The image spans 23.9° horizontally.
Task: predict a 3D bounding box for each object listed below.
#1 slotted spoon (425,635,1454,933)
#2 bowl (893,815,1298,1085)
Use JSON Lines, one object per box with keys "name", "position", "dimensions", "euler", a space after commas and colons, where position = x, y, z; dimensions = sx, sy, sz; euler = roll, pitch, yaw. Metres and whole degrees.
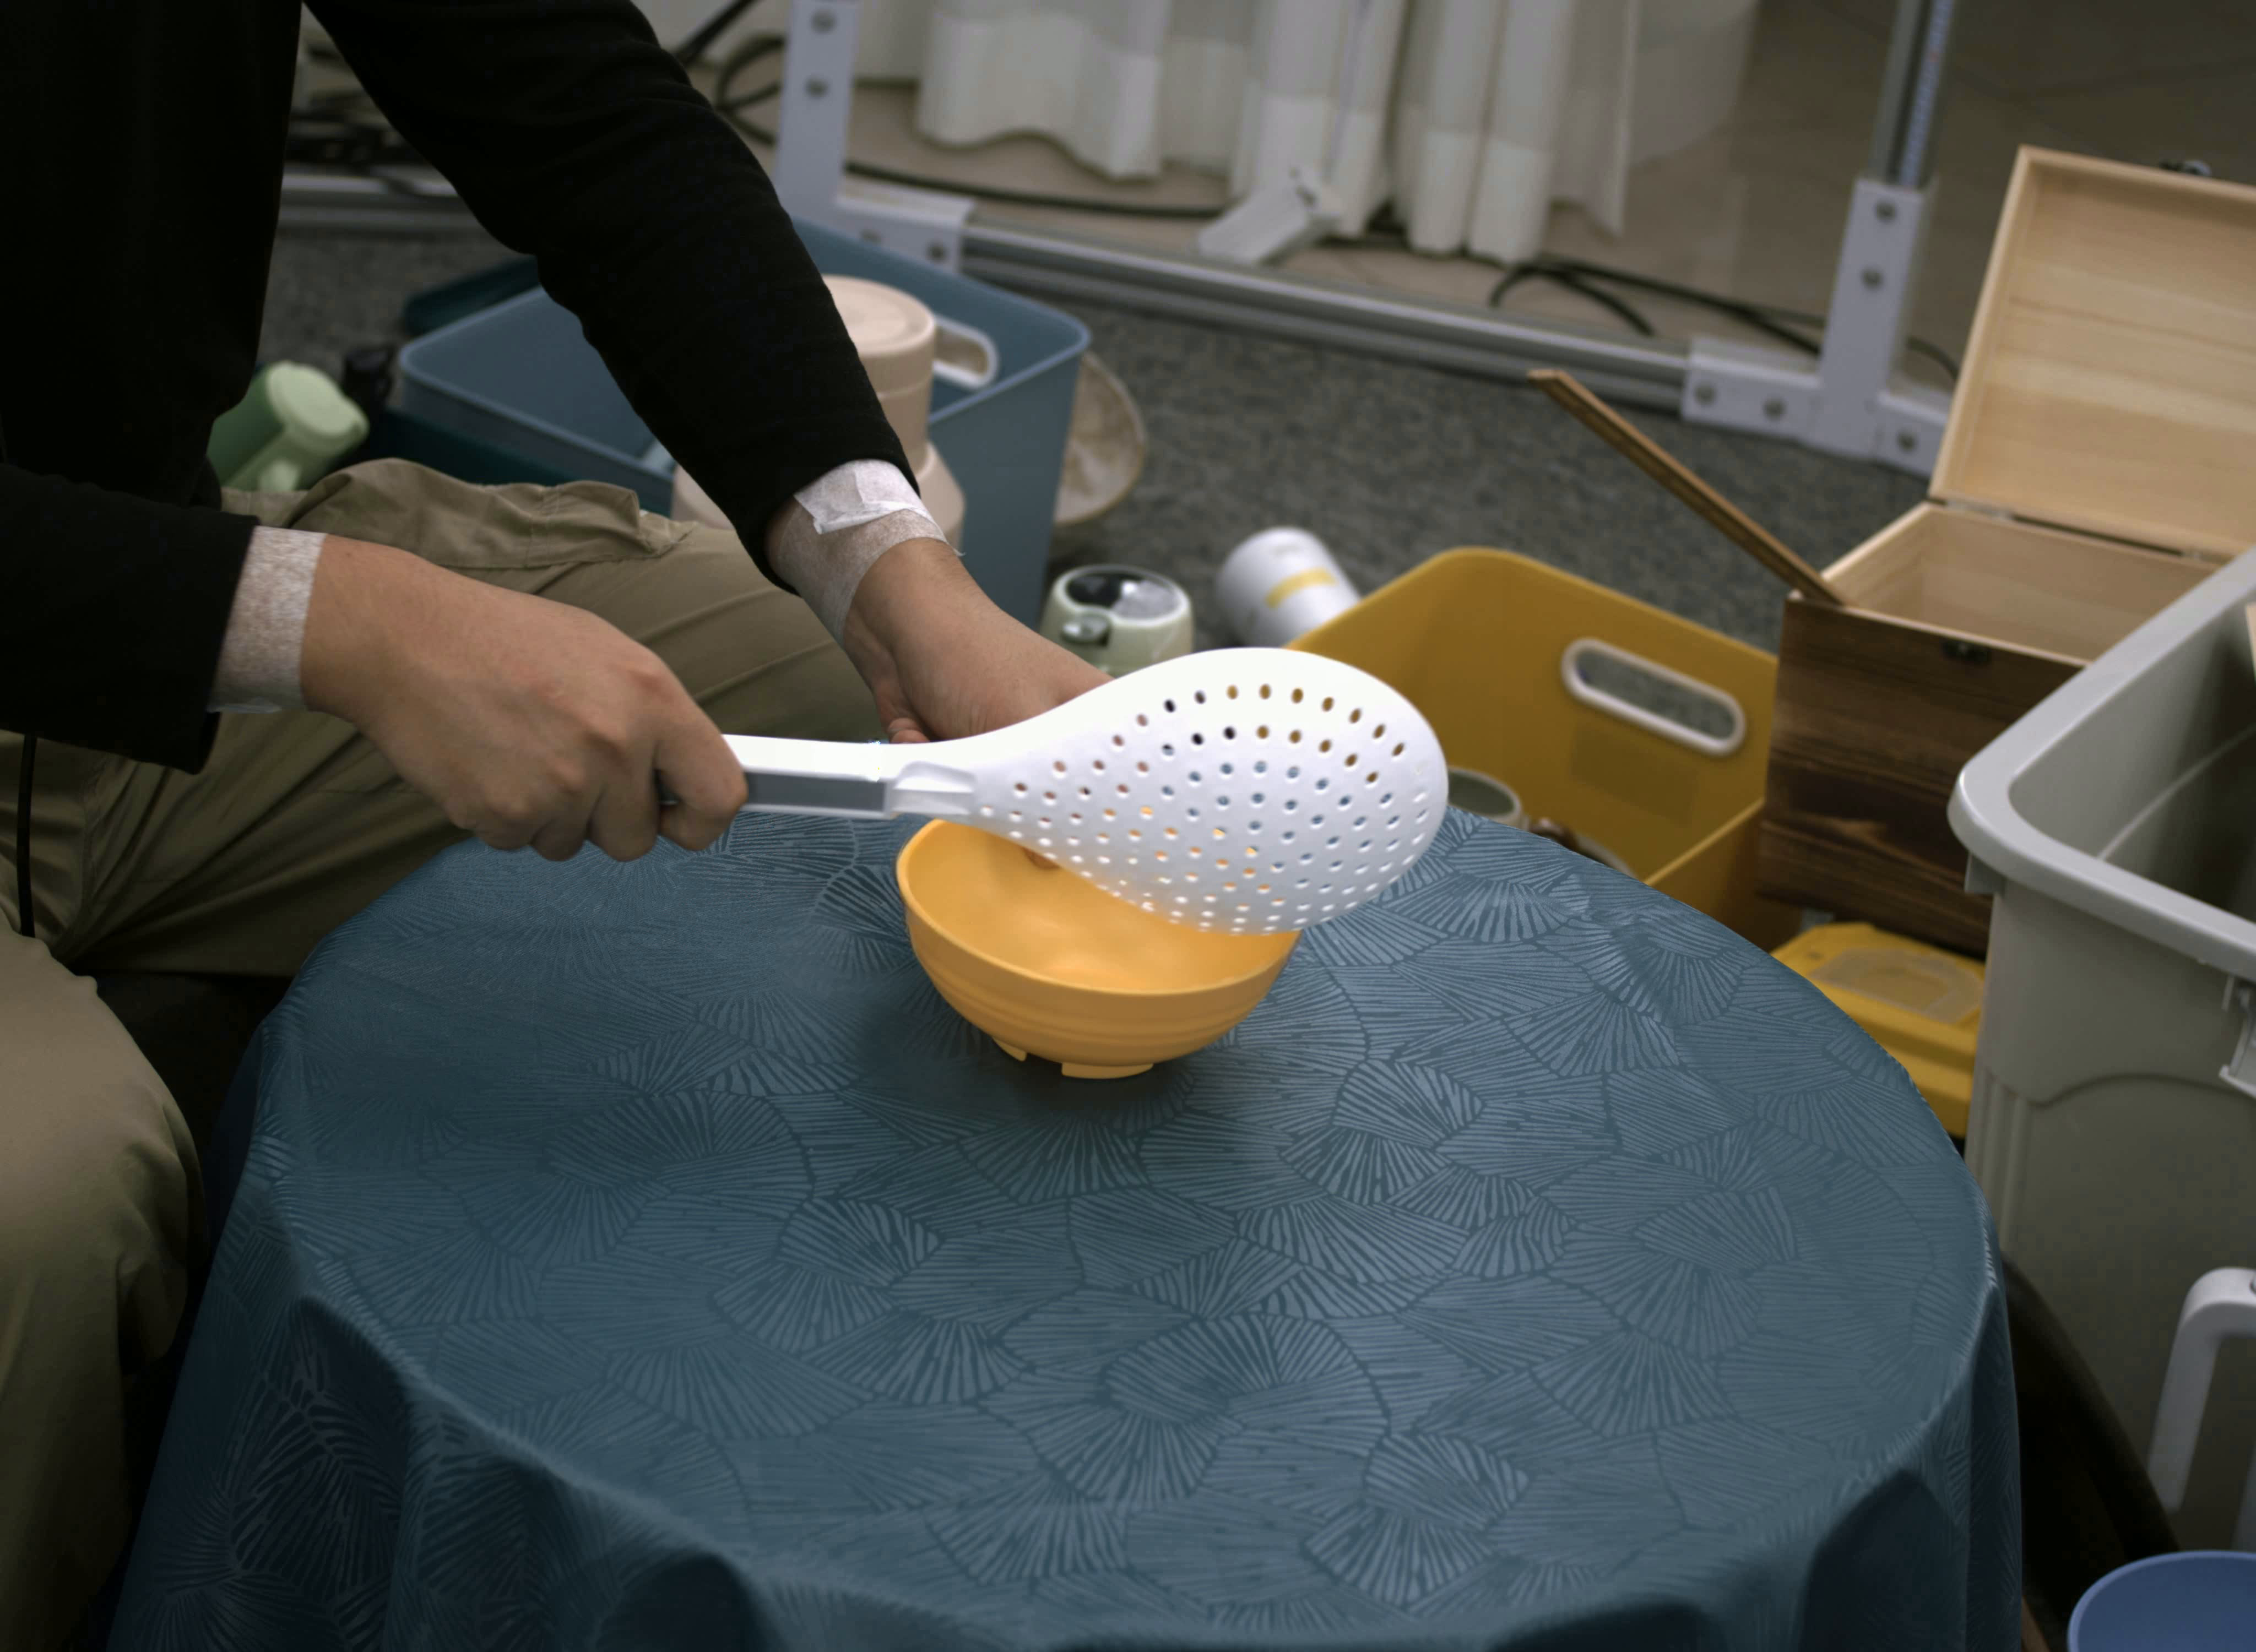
{"name": "slotted spoon", "position": [-0.064, -0.016, 1.811], "dimensions": [0.349, 0.135, 0.046], "euler": [7, 44, 1]}
{"name": "bowl", "position": [-0.016, 0.050, 1.883], "dimensions": [0.145, 0.060, 0.146], "euler": [8, 25, -4]}
